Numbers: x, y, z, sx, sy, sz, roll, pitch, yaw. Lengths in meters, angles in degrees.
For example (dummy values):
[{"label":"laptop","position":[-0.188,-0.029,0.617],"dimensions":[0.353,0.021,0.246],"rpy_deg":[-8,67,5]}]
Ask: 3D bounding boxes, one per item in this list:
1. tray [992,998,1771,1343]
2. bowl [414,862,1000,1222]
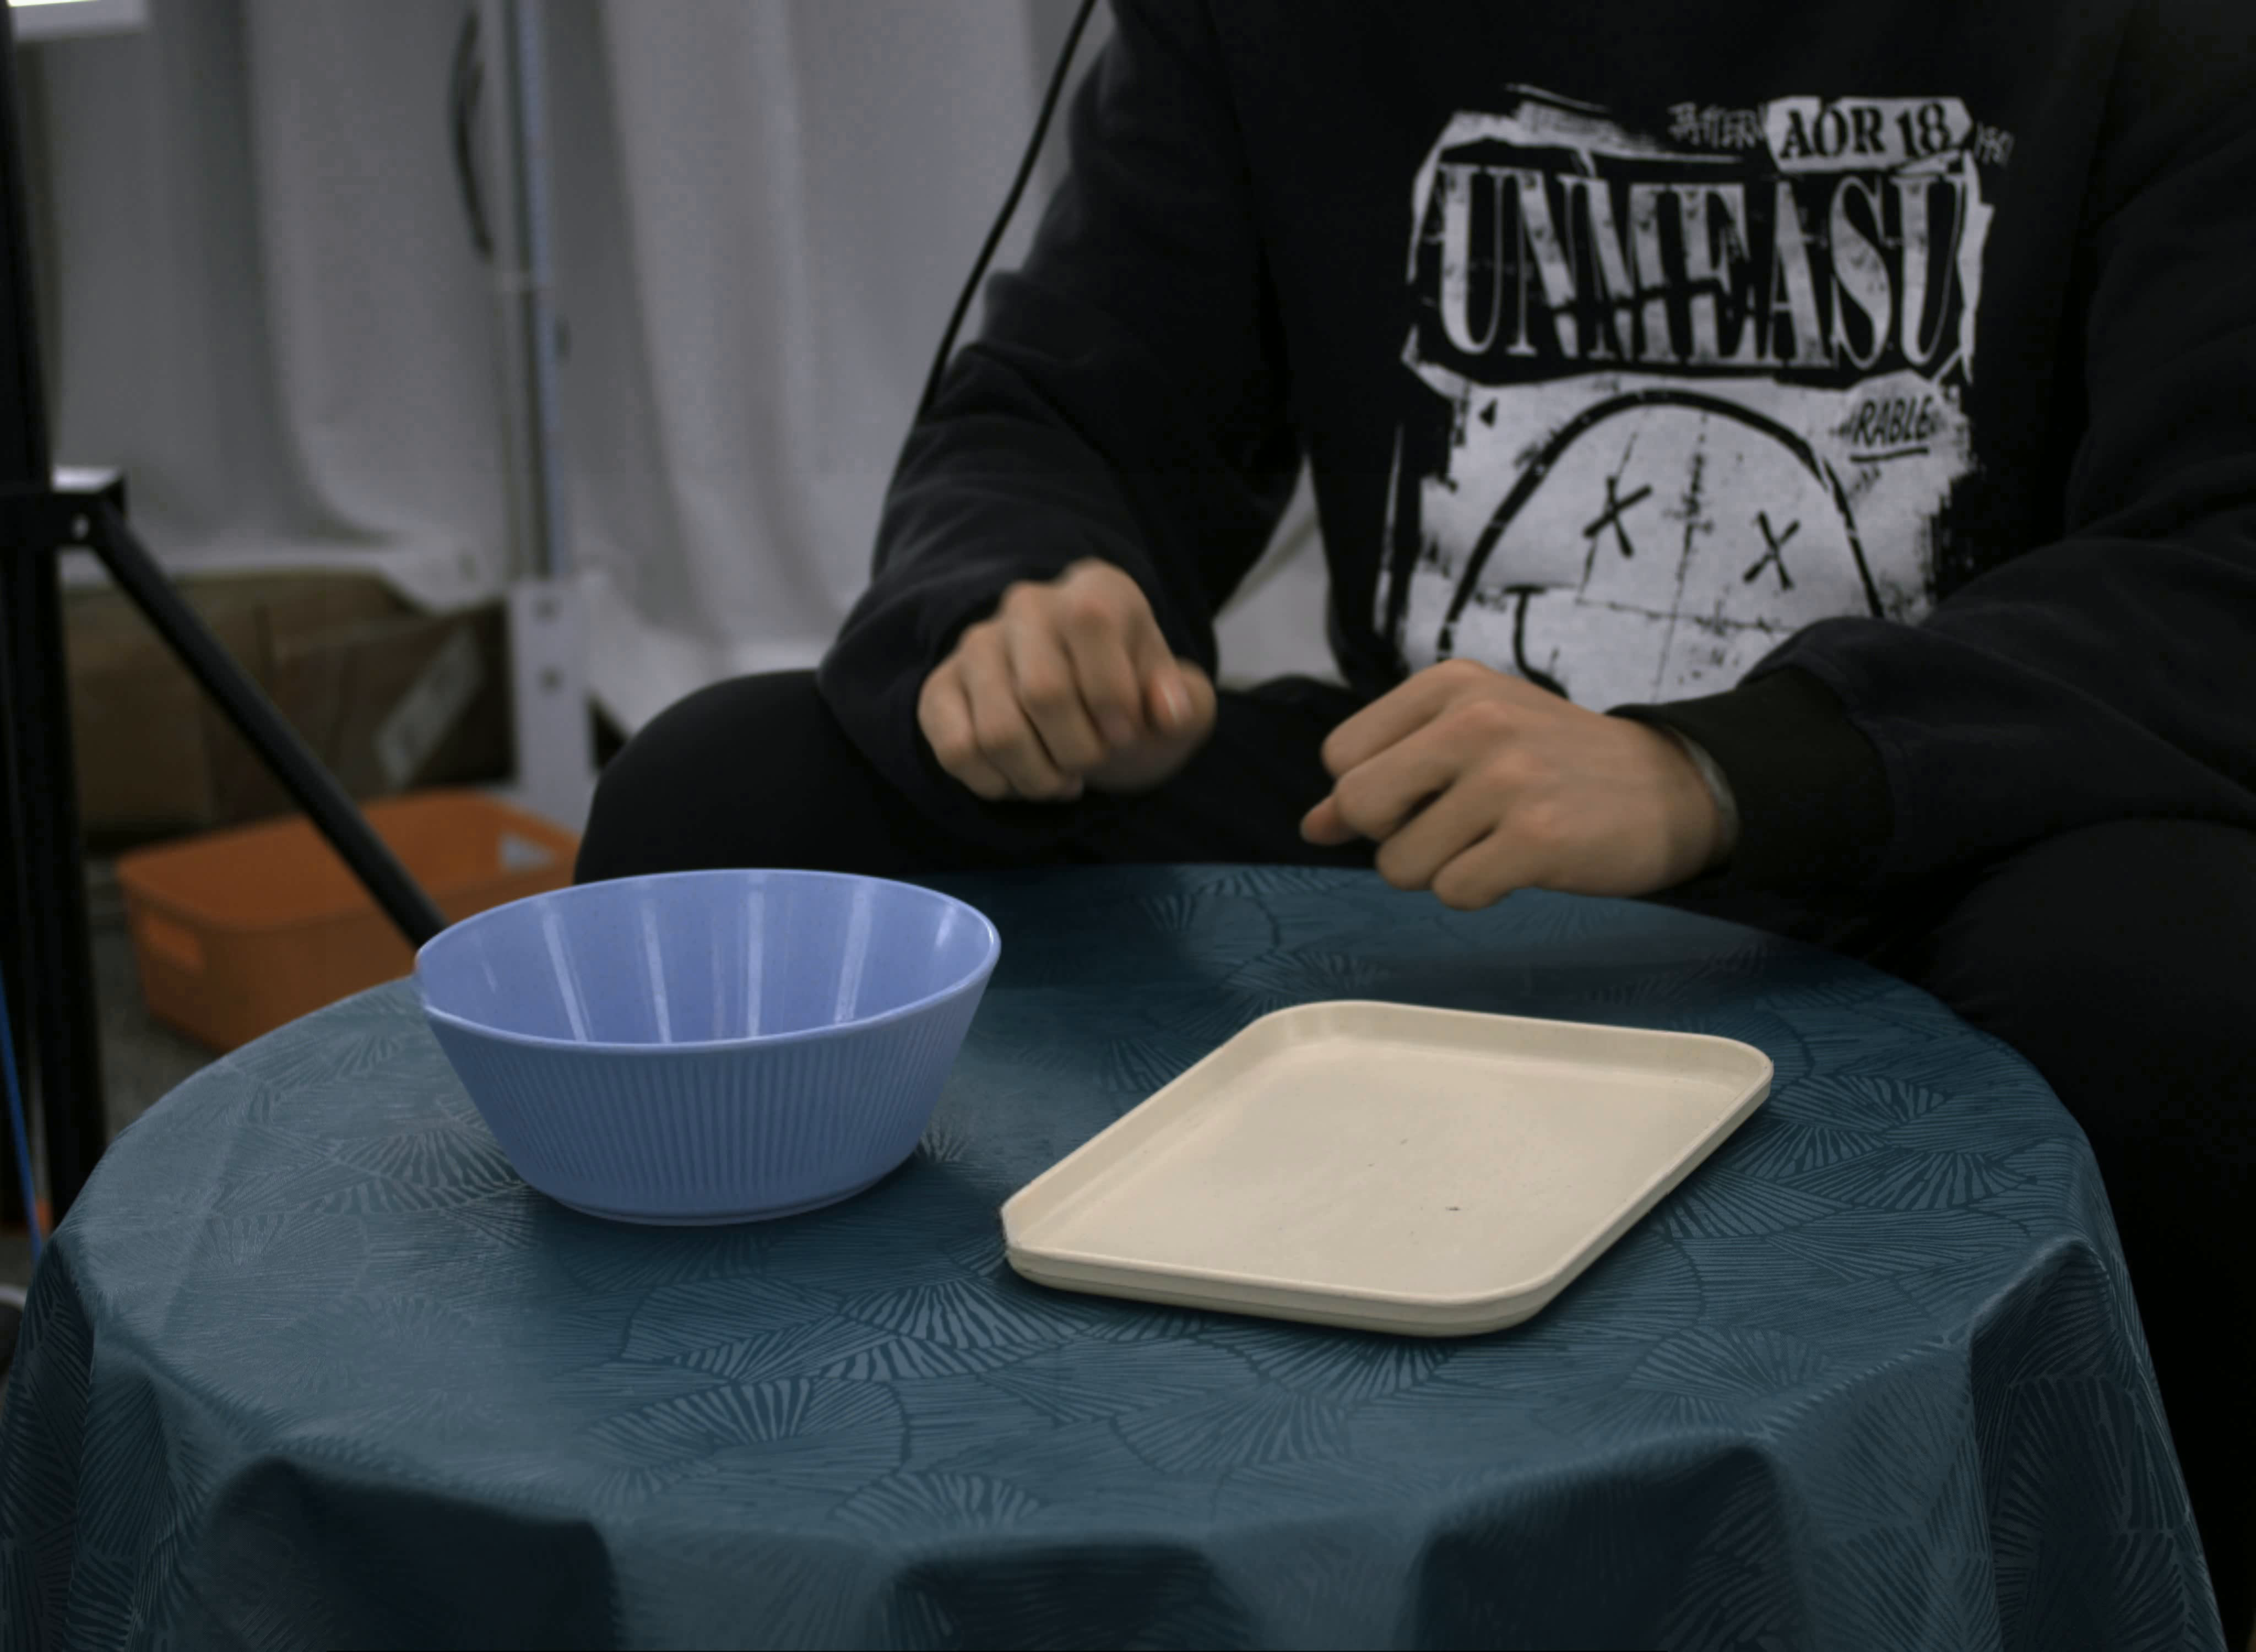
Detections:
[{"label":"tray","position":[0.078,0.099,1.545],"dimensions":[0.174,0.017,0.236],"rpy_deg":[6,18,26]},{"label":"bowl","position":[-0.124,0.067,1.592],"dimensions":[0.175,0.070,0.177],"rpy_deg":[-3,17,-1]}]
